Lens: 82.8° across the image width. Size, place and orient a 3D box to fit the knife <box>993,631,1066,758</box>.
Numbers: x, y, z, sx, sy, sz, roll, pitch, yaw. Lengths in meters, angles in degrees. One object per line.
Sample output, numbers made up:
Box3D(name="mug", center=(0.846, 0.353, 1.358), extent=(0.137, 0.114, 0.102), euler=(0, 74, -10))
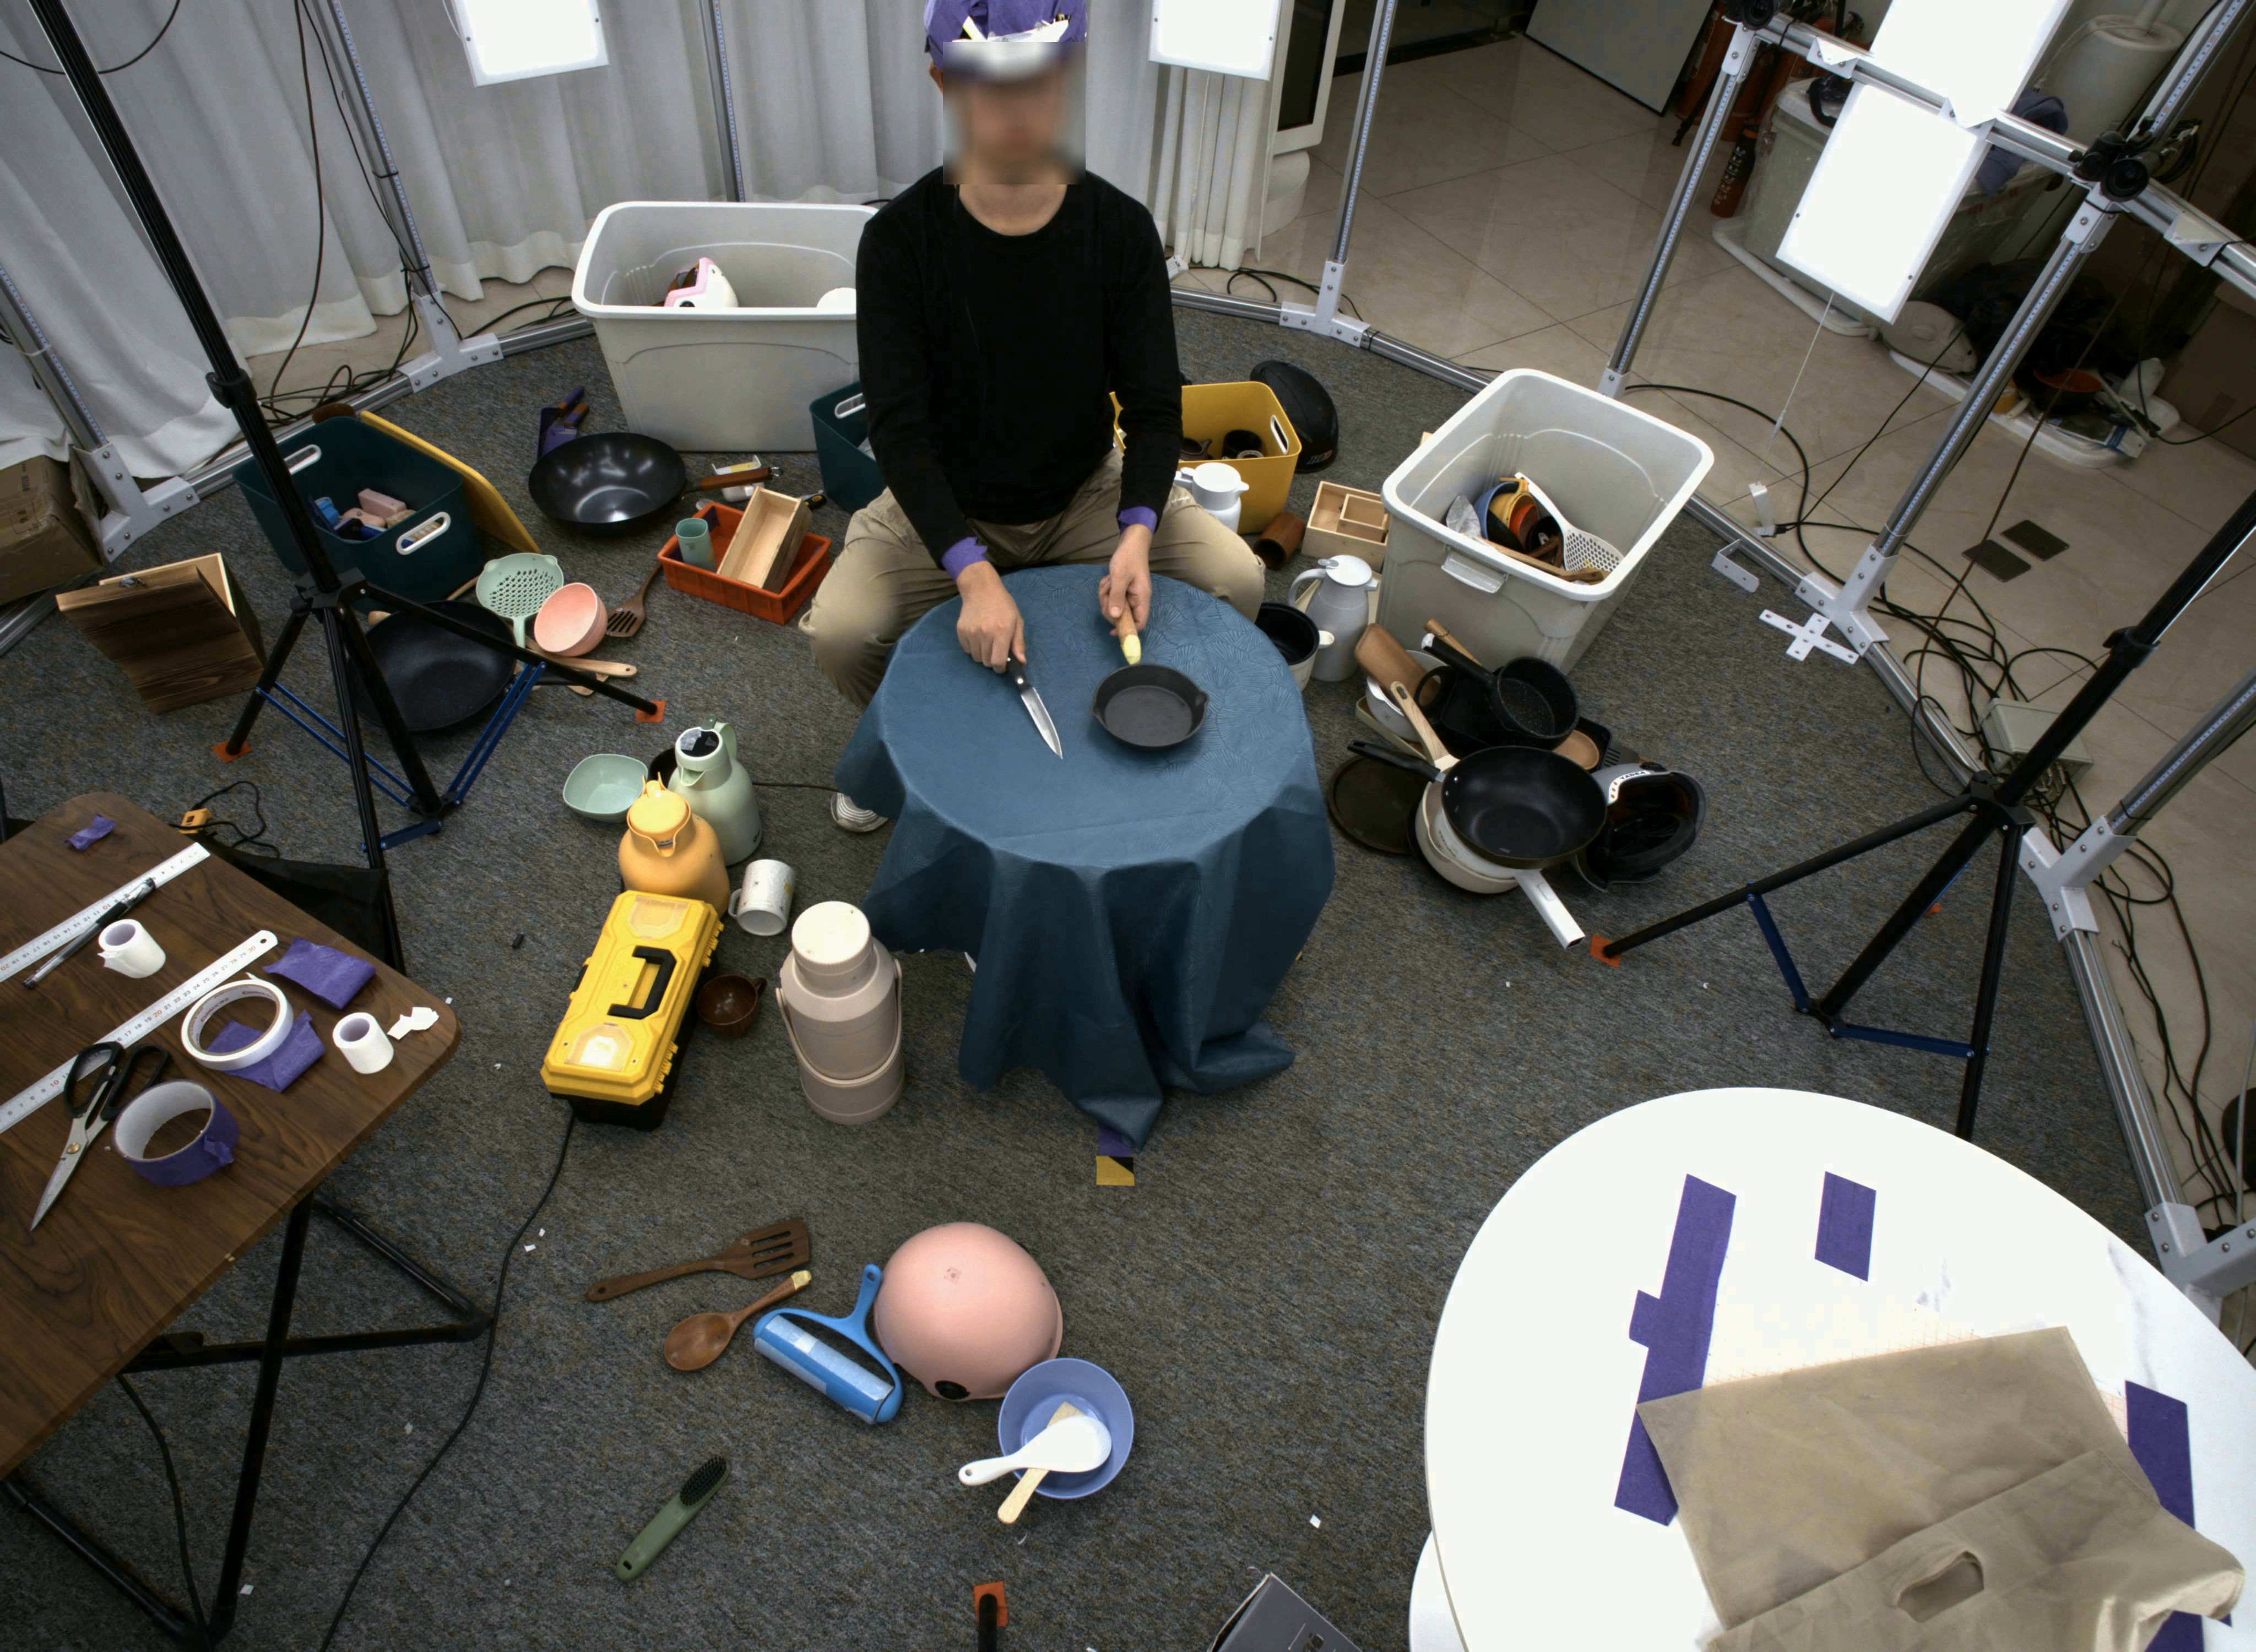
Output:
Box3D(name="knife", center=(-0.140, -0.185, 1.802), extent=(0.024, 0.016, 0.243), euler=(-24, 61, -8))

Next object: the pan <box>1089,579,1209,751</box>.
Box3D(name="pan", center=(0.014, -0.231, 1.835), extent=(0.169, 0.048, 0.332), euler=(-6, 51, -9))
